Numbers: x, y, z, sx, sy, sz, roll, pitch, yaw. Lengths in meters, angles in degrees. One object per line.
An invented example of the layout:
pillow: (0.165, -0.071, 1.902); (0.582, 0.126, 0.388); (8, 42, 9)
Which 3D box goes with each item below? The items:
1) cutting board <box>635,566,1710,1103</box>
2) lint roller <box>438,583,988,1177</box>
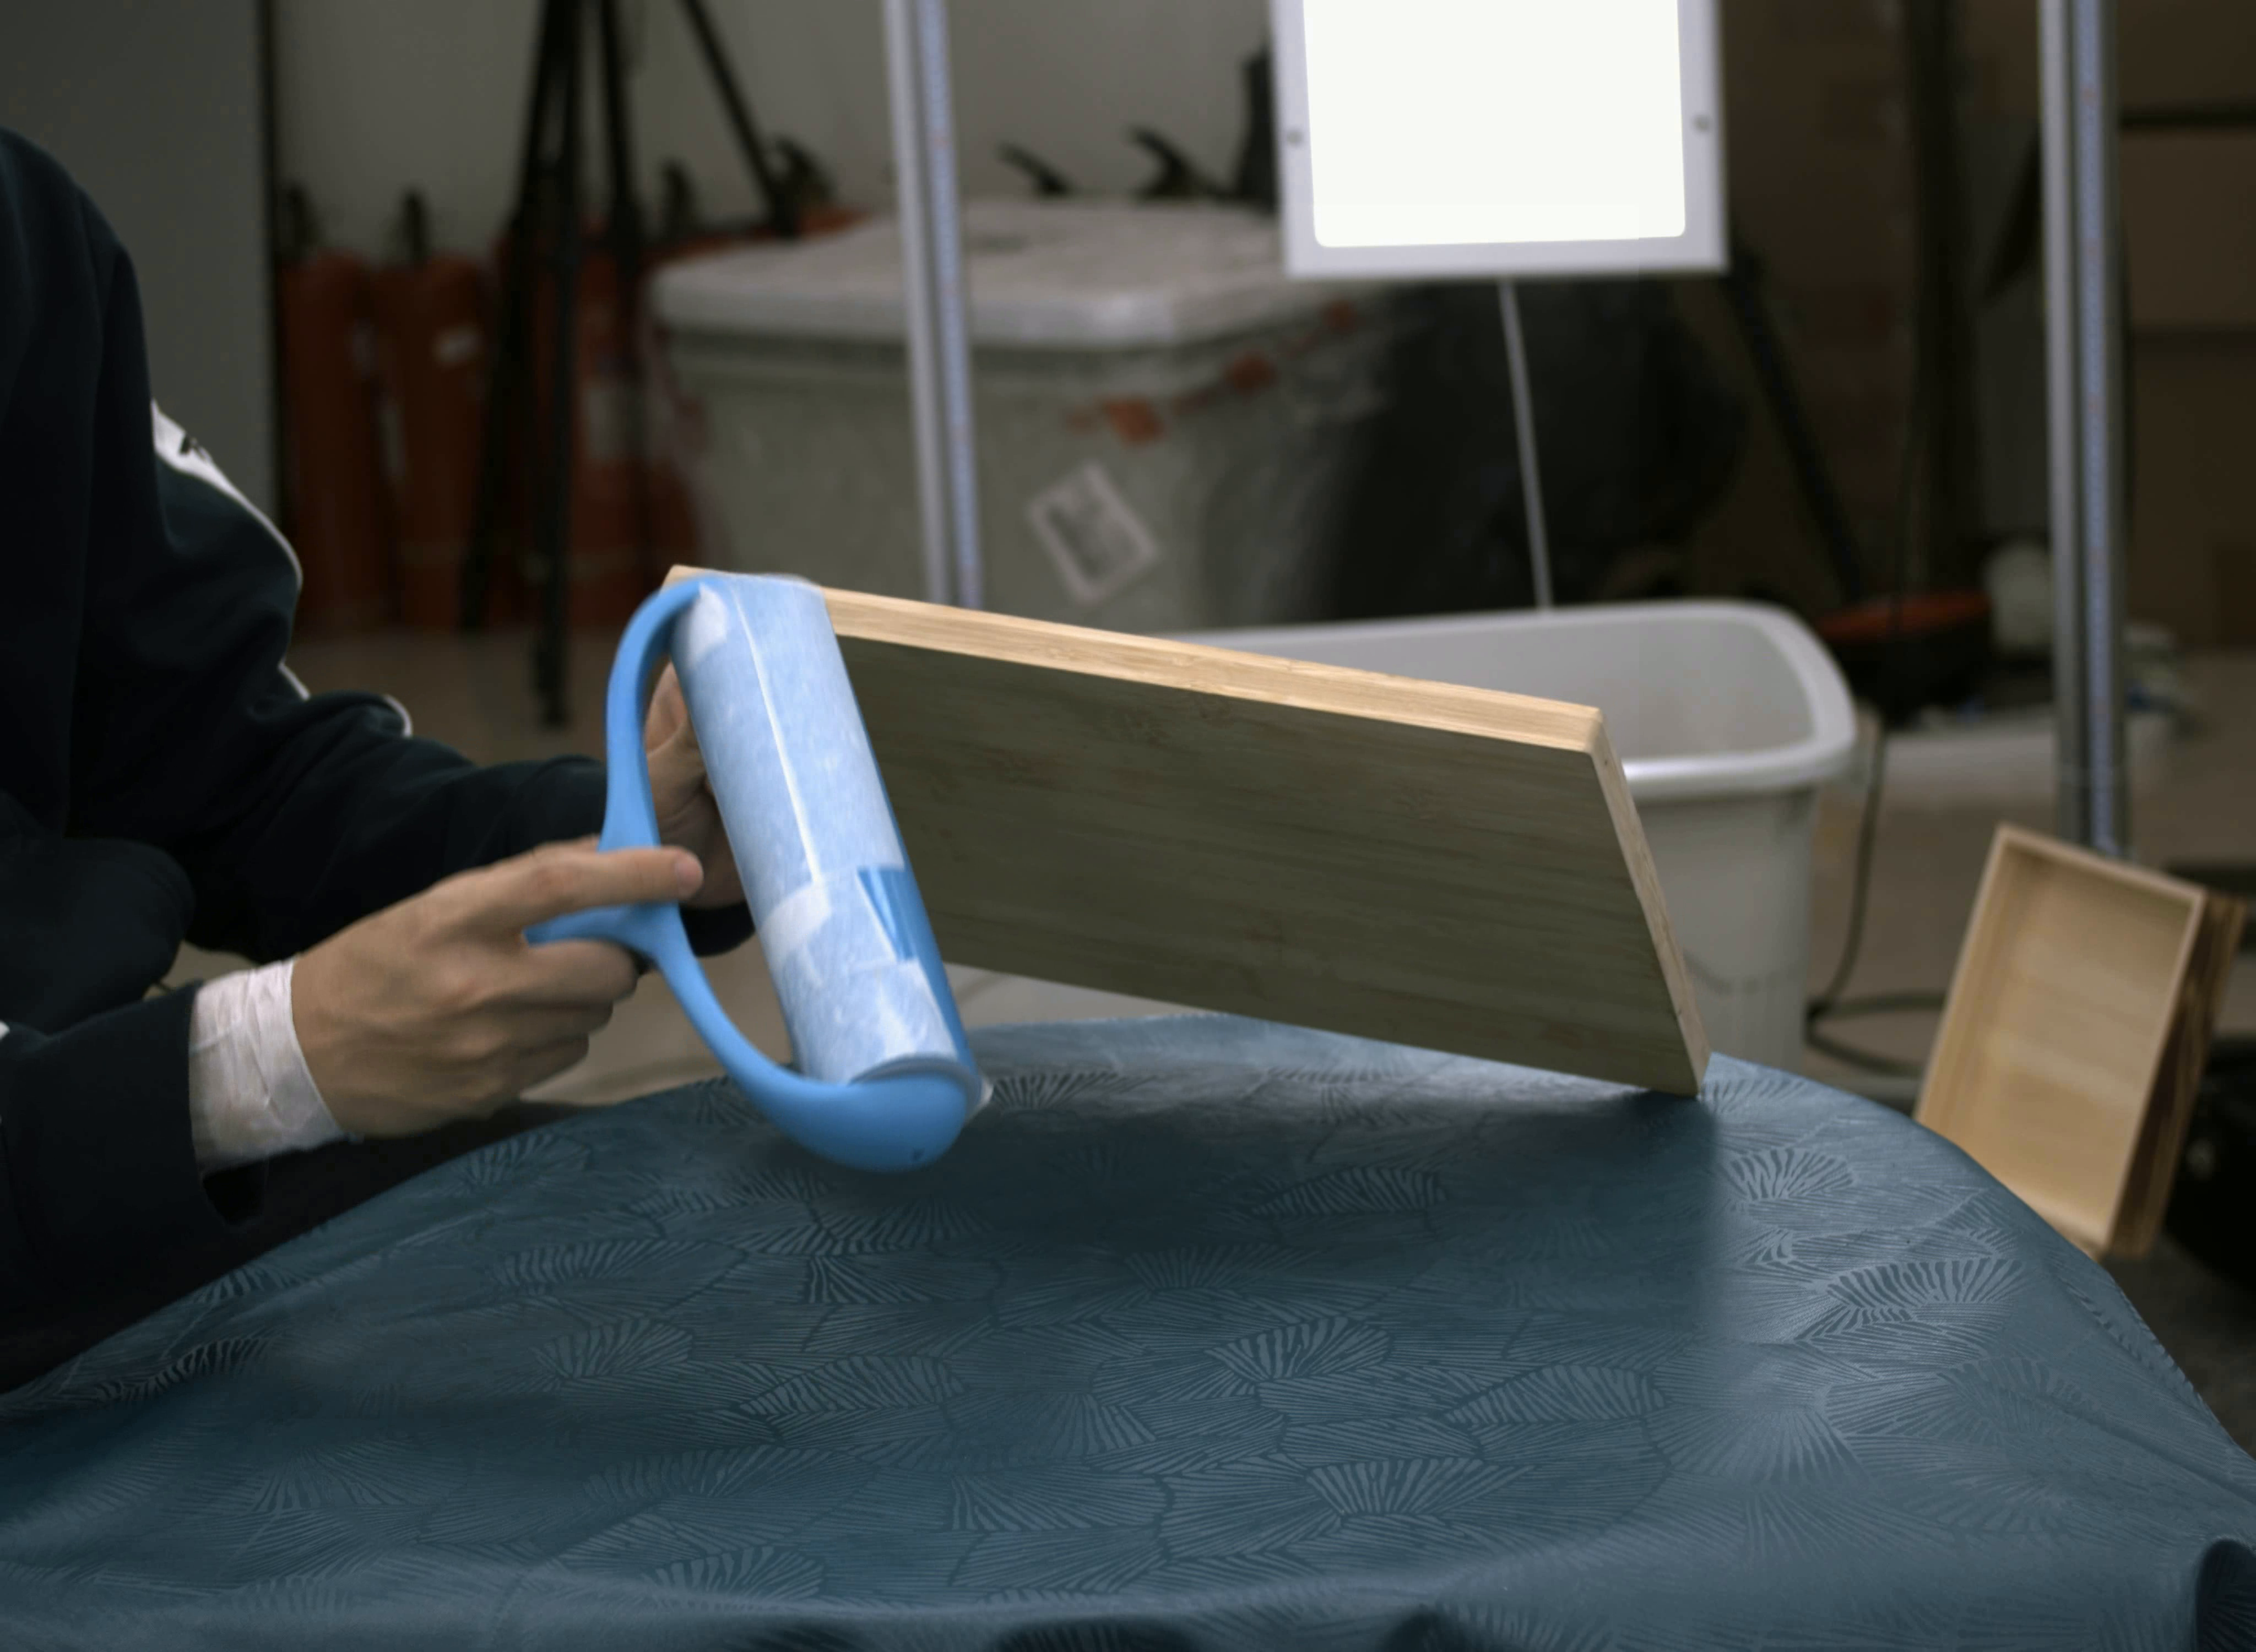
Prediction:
cutting board: (0.019, 0.003, 1.921); (0.353, 0.249, 0.023); (10, 62, 22)
lint roller: (-0.149, 0.040, 1.755); (0.181, 0.067, 0.230); (-27, 56, 7)
